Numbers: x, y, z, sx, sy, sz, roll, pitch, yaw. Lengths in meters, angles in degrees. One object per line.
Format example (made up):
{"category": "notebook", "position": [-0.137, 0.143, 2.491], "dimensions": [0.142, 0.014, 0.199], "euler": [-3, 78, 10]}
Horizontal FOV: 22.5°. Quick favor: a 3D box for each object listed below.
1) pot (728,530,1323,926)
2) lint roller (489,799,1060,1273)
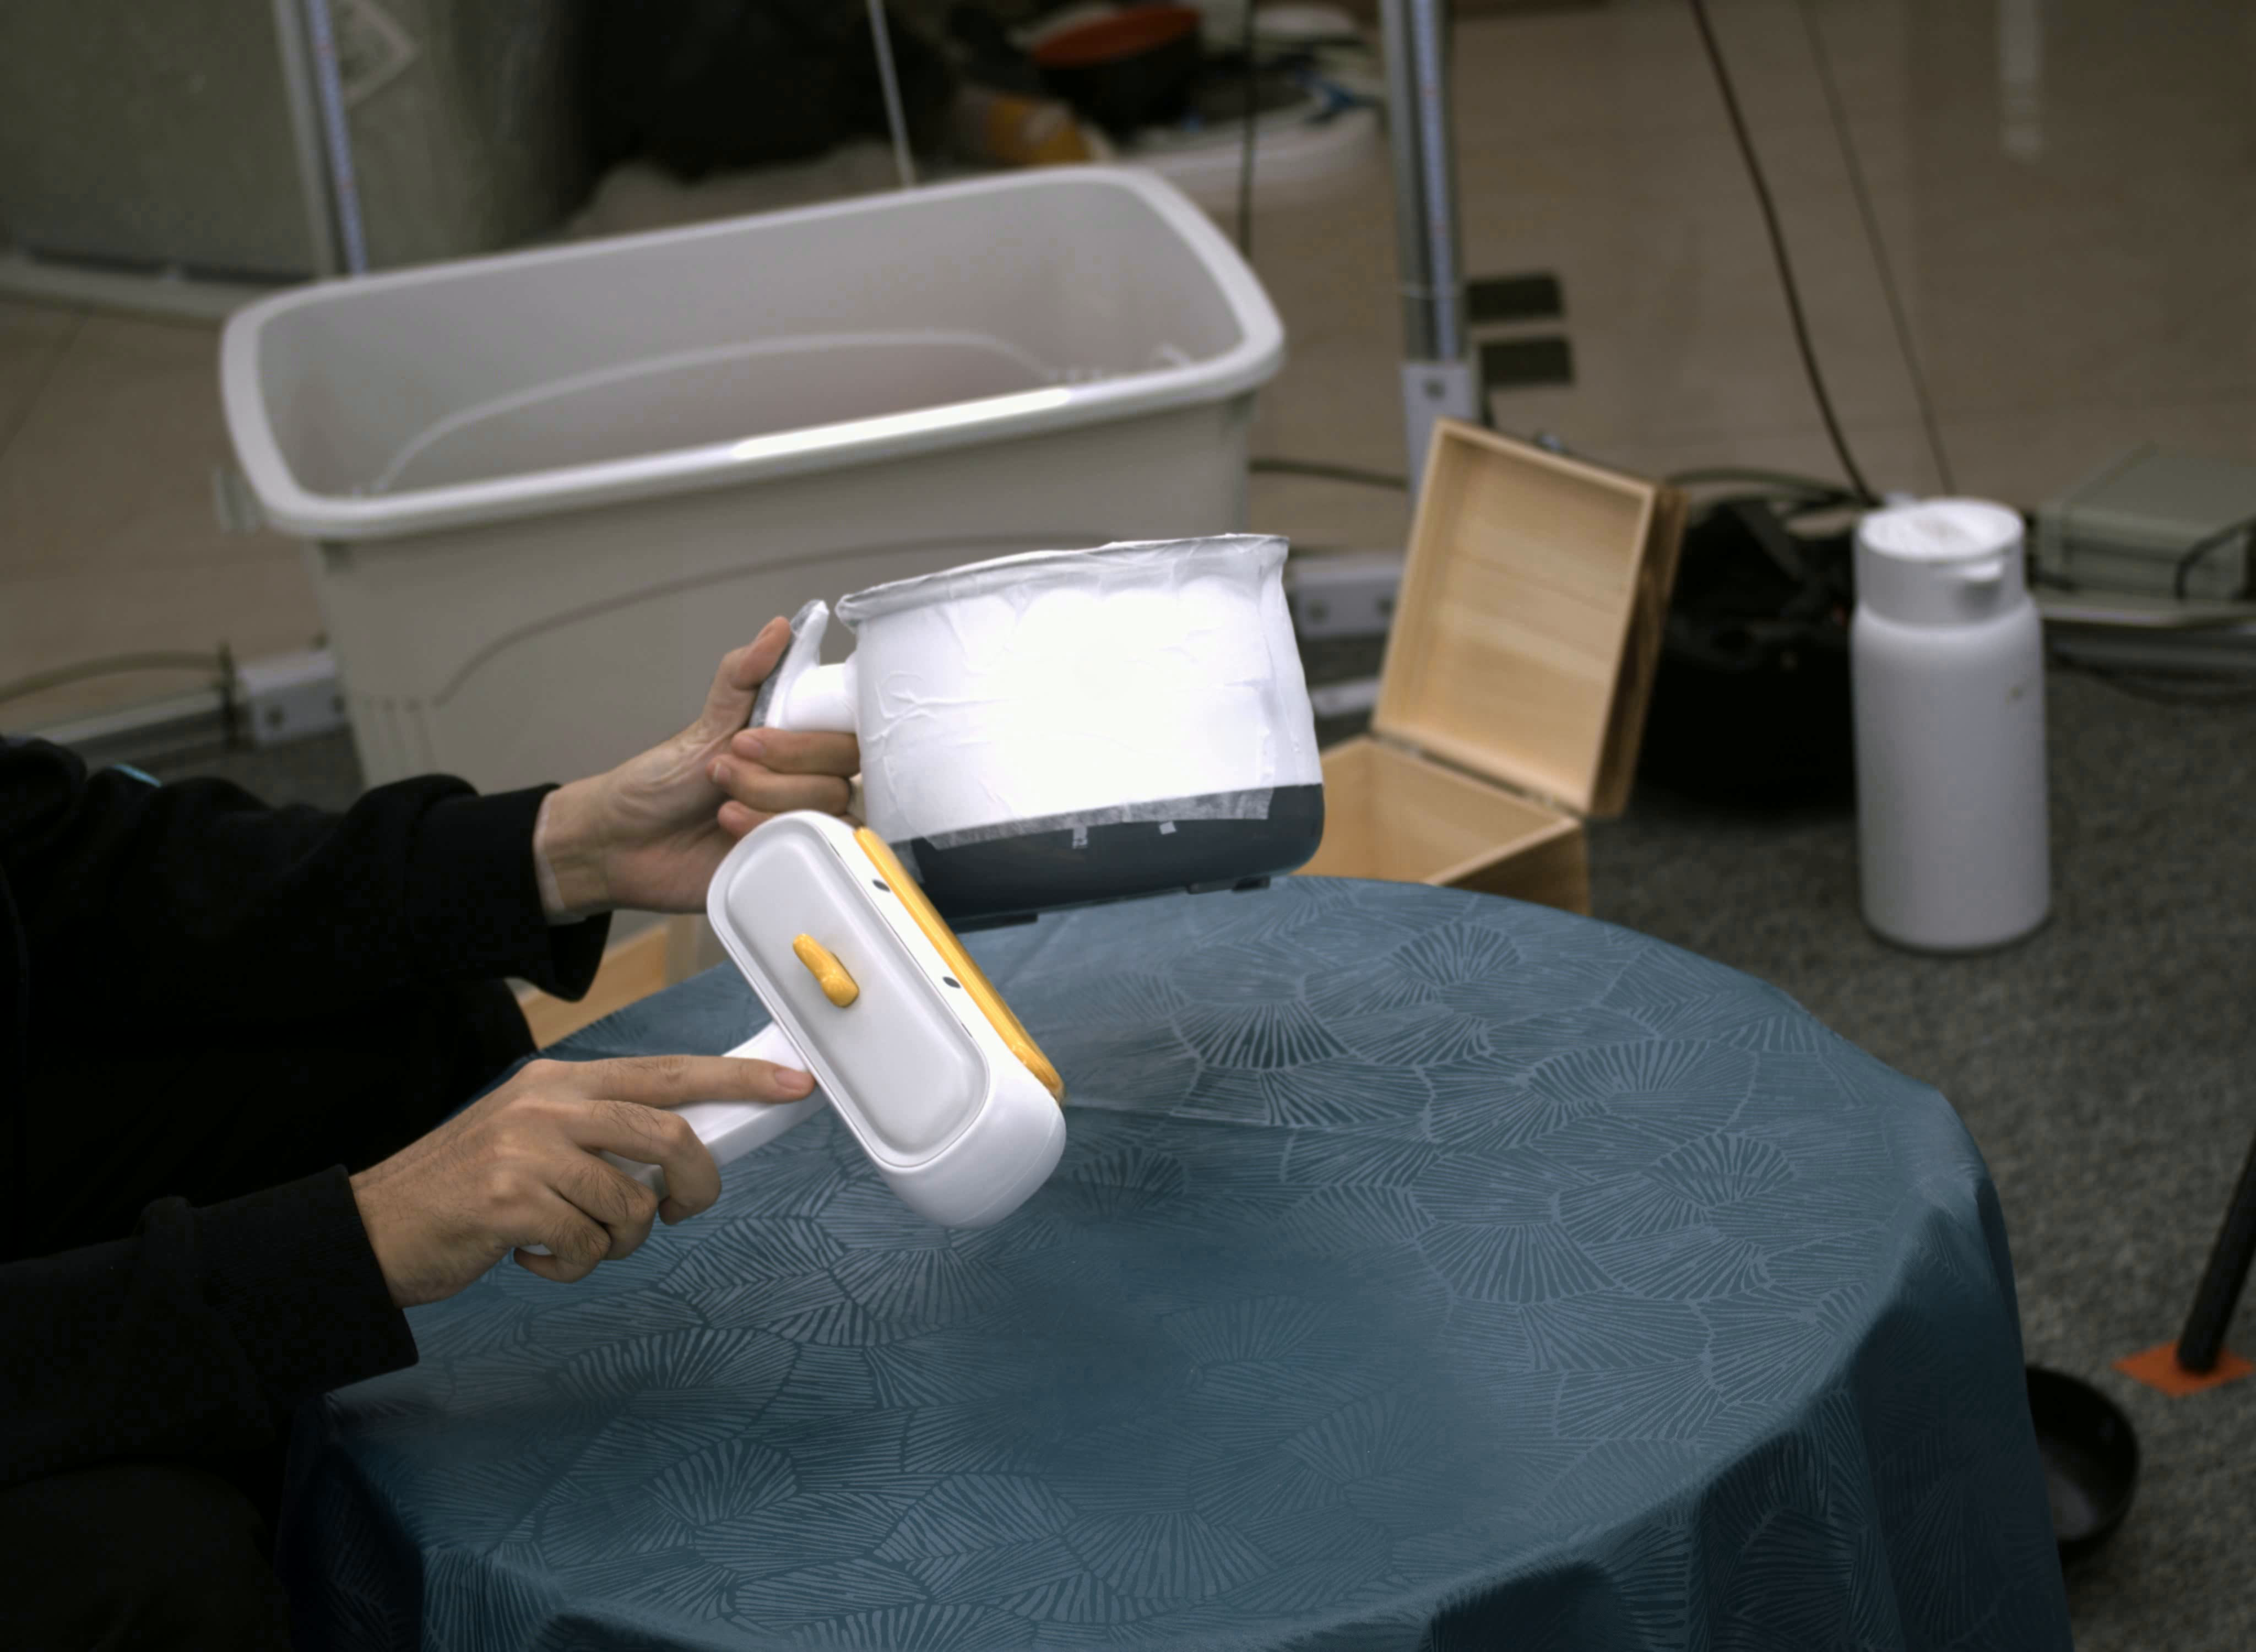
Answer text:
{"category": "pot", "position": [-0.043, -0.033, 2.178], "dimensions": [0.233, 0.136, 0.179], "euler": [-6, -4, 9]}
{"category": "lint roller", "position": [-0.140, 0.096, 2.025], "dimensions": [0.192, 0.075, 0.190], "euler": [-40, 54, -4]}
